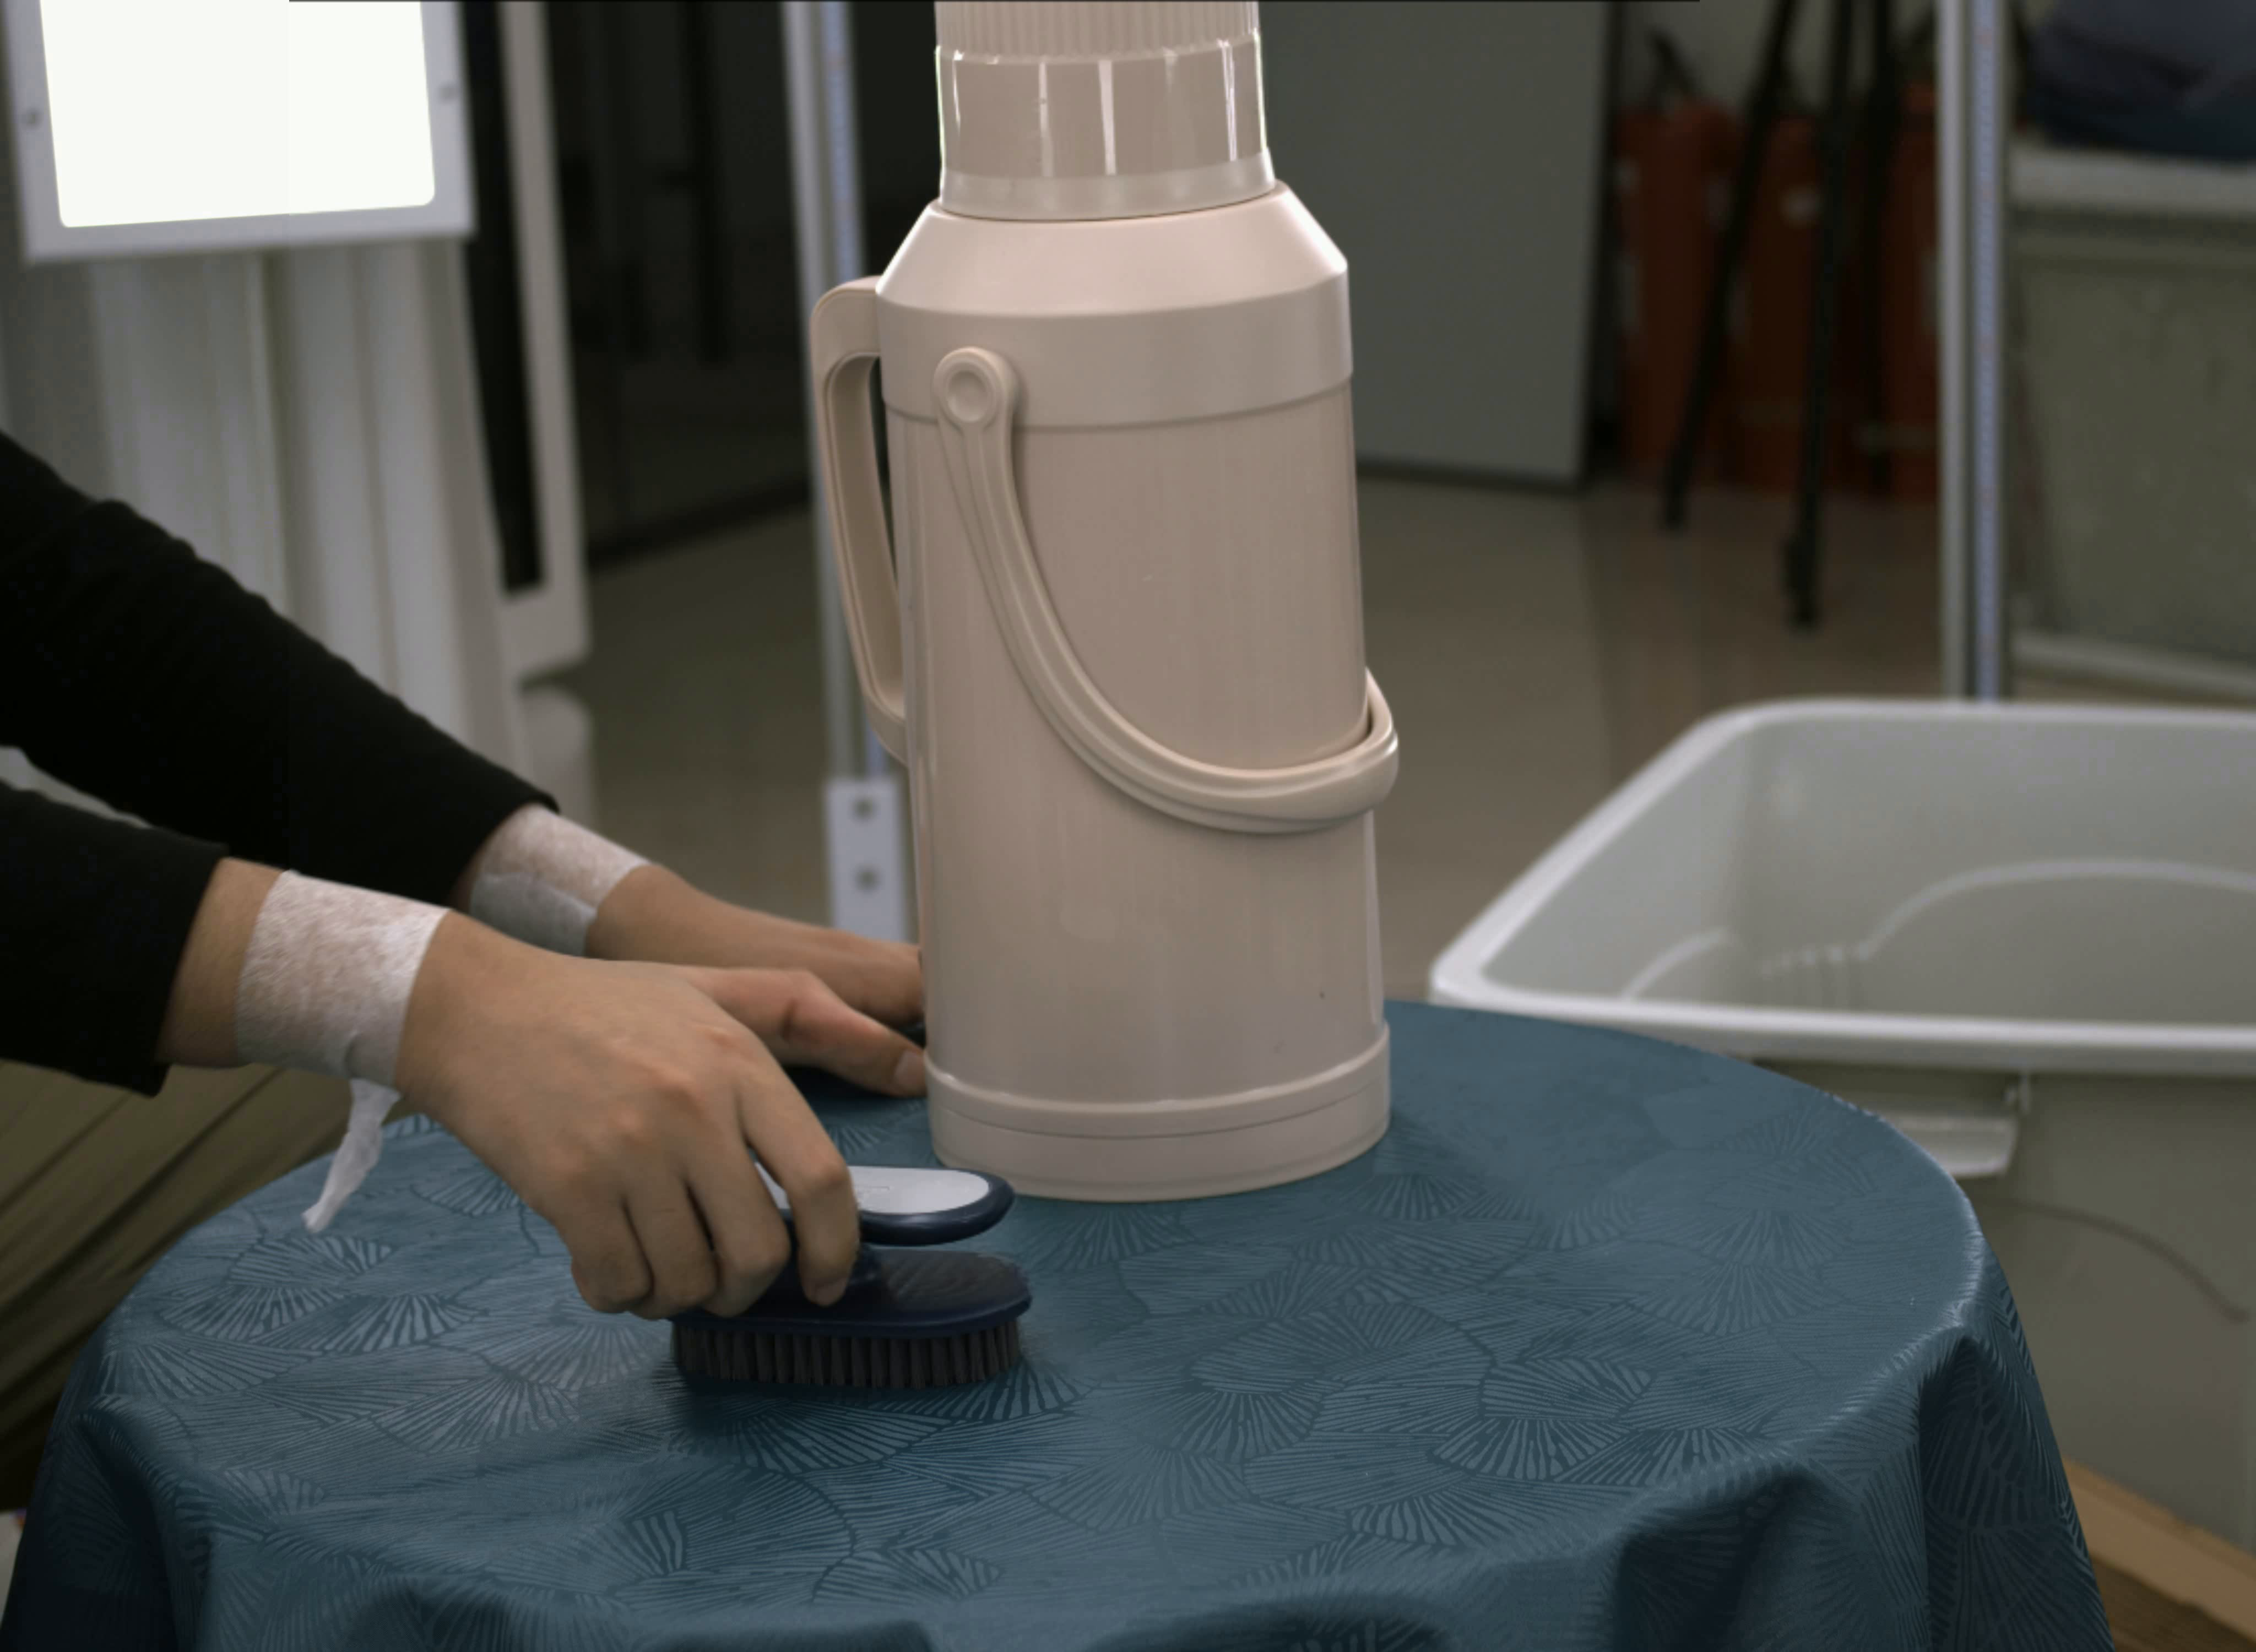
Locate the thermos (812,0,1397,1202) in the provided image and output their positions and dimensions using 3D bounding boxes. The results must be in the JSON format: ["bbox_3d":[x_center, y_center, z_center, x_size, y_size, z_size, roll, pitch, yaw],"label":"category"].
[{"bbox_3d":[-0.011,-0.091,1.798,0.208,0.410,0.172,5,17,33],"label":"thermos"}]

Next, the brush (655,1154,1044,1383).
[{"bbox_3d":[-0.084,0.134,1.623,0.121,0.062,0.067,1,11,20],"label":"brush"}]
